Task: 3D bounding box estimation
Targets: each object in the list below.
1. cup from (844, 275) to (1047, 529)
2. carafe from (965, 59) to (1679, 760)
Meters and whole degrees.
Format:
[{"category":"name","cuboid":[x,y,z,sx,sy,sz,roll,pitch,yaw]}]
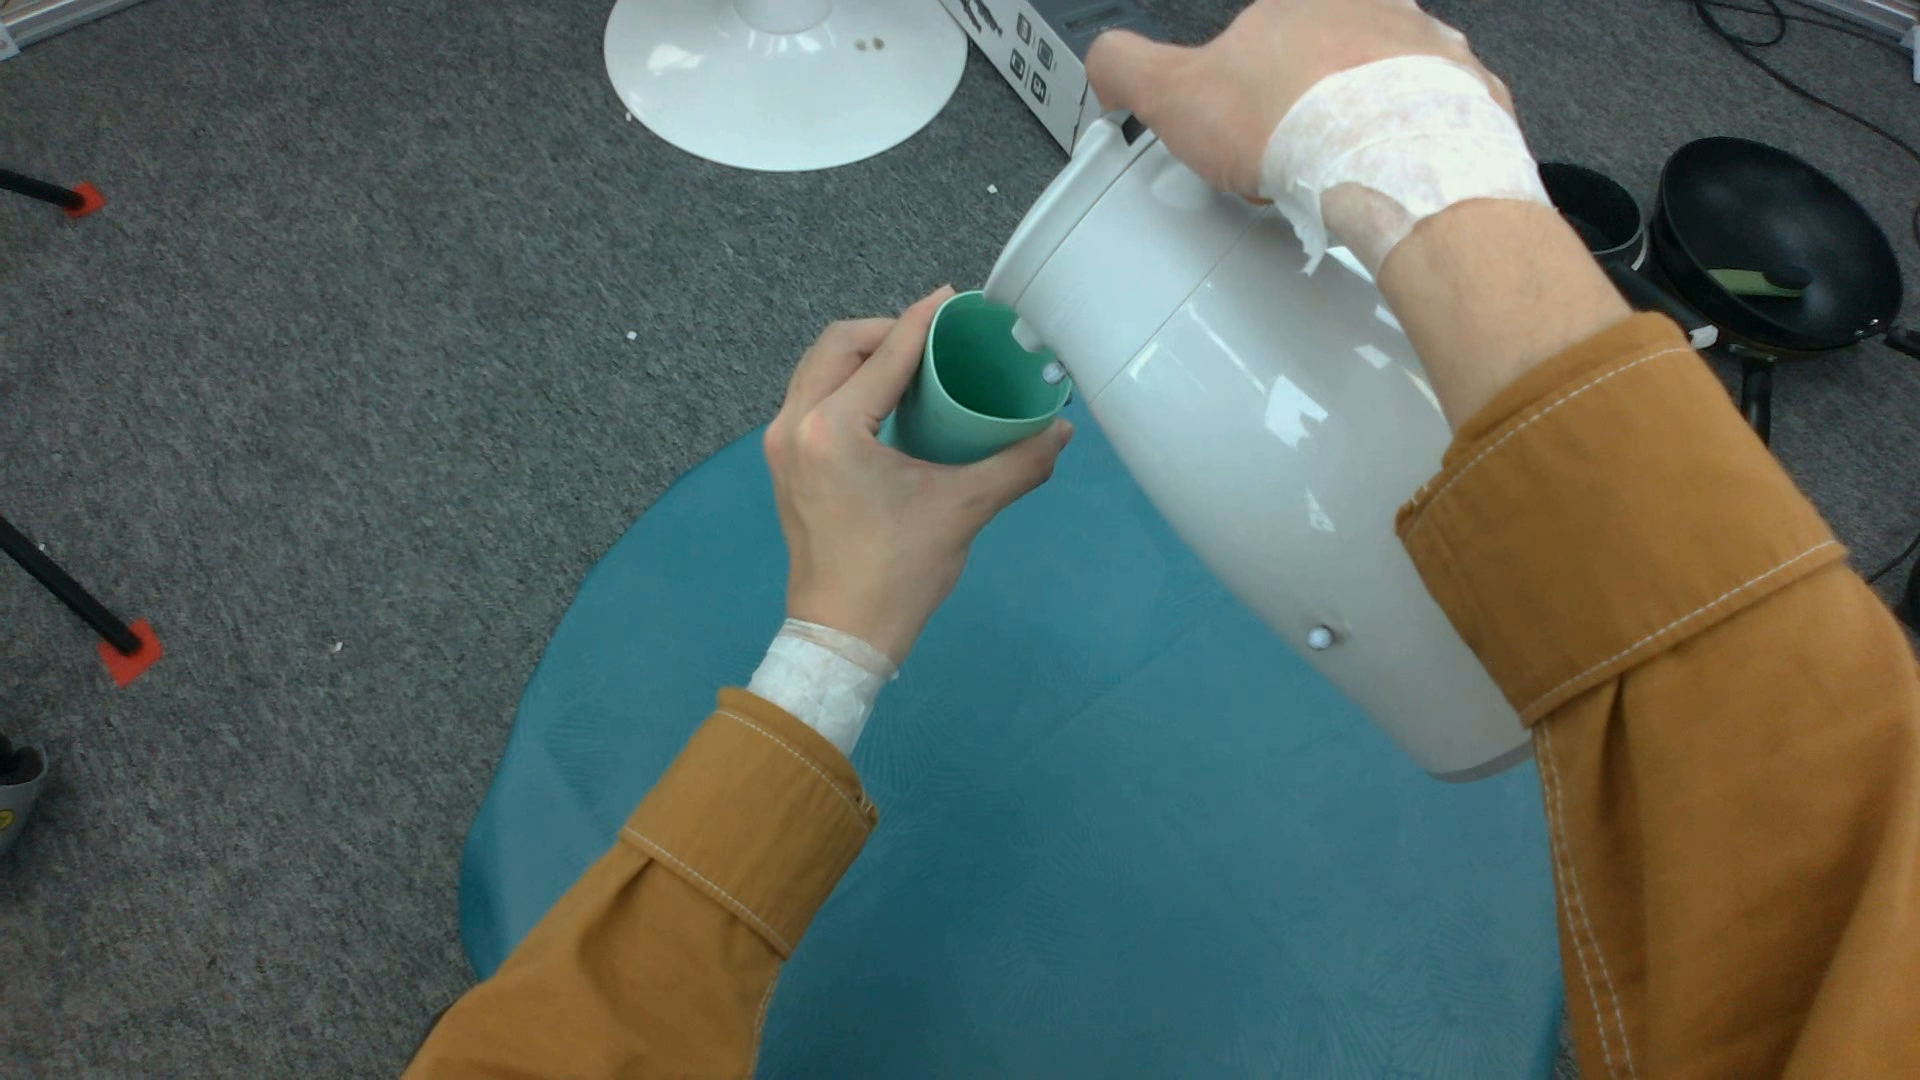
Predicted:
[{"category":"cup","cuboid":[-0.011,-0.057,0.630,0.067,0.131,0.067,7,65,-14]},{"category":"carafe","cuboid":[0.127,-0.060,0.490,0.248,0.167,0.133,43,52,-1]}]
